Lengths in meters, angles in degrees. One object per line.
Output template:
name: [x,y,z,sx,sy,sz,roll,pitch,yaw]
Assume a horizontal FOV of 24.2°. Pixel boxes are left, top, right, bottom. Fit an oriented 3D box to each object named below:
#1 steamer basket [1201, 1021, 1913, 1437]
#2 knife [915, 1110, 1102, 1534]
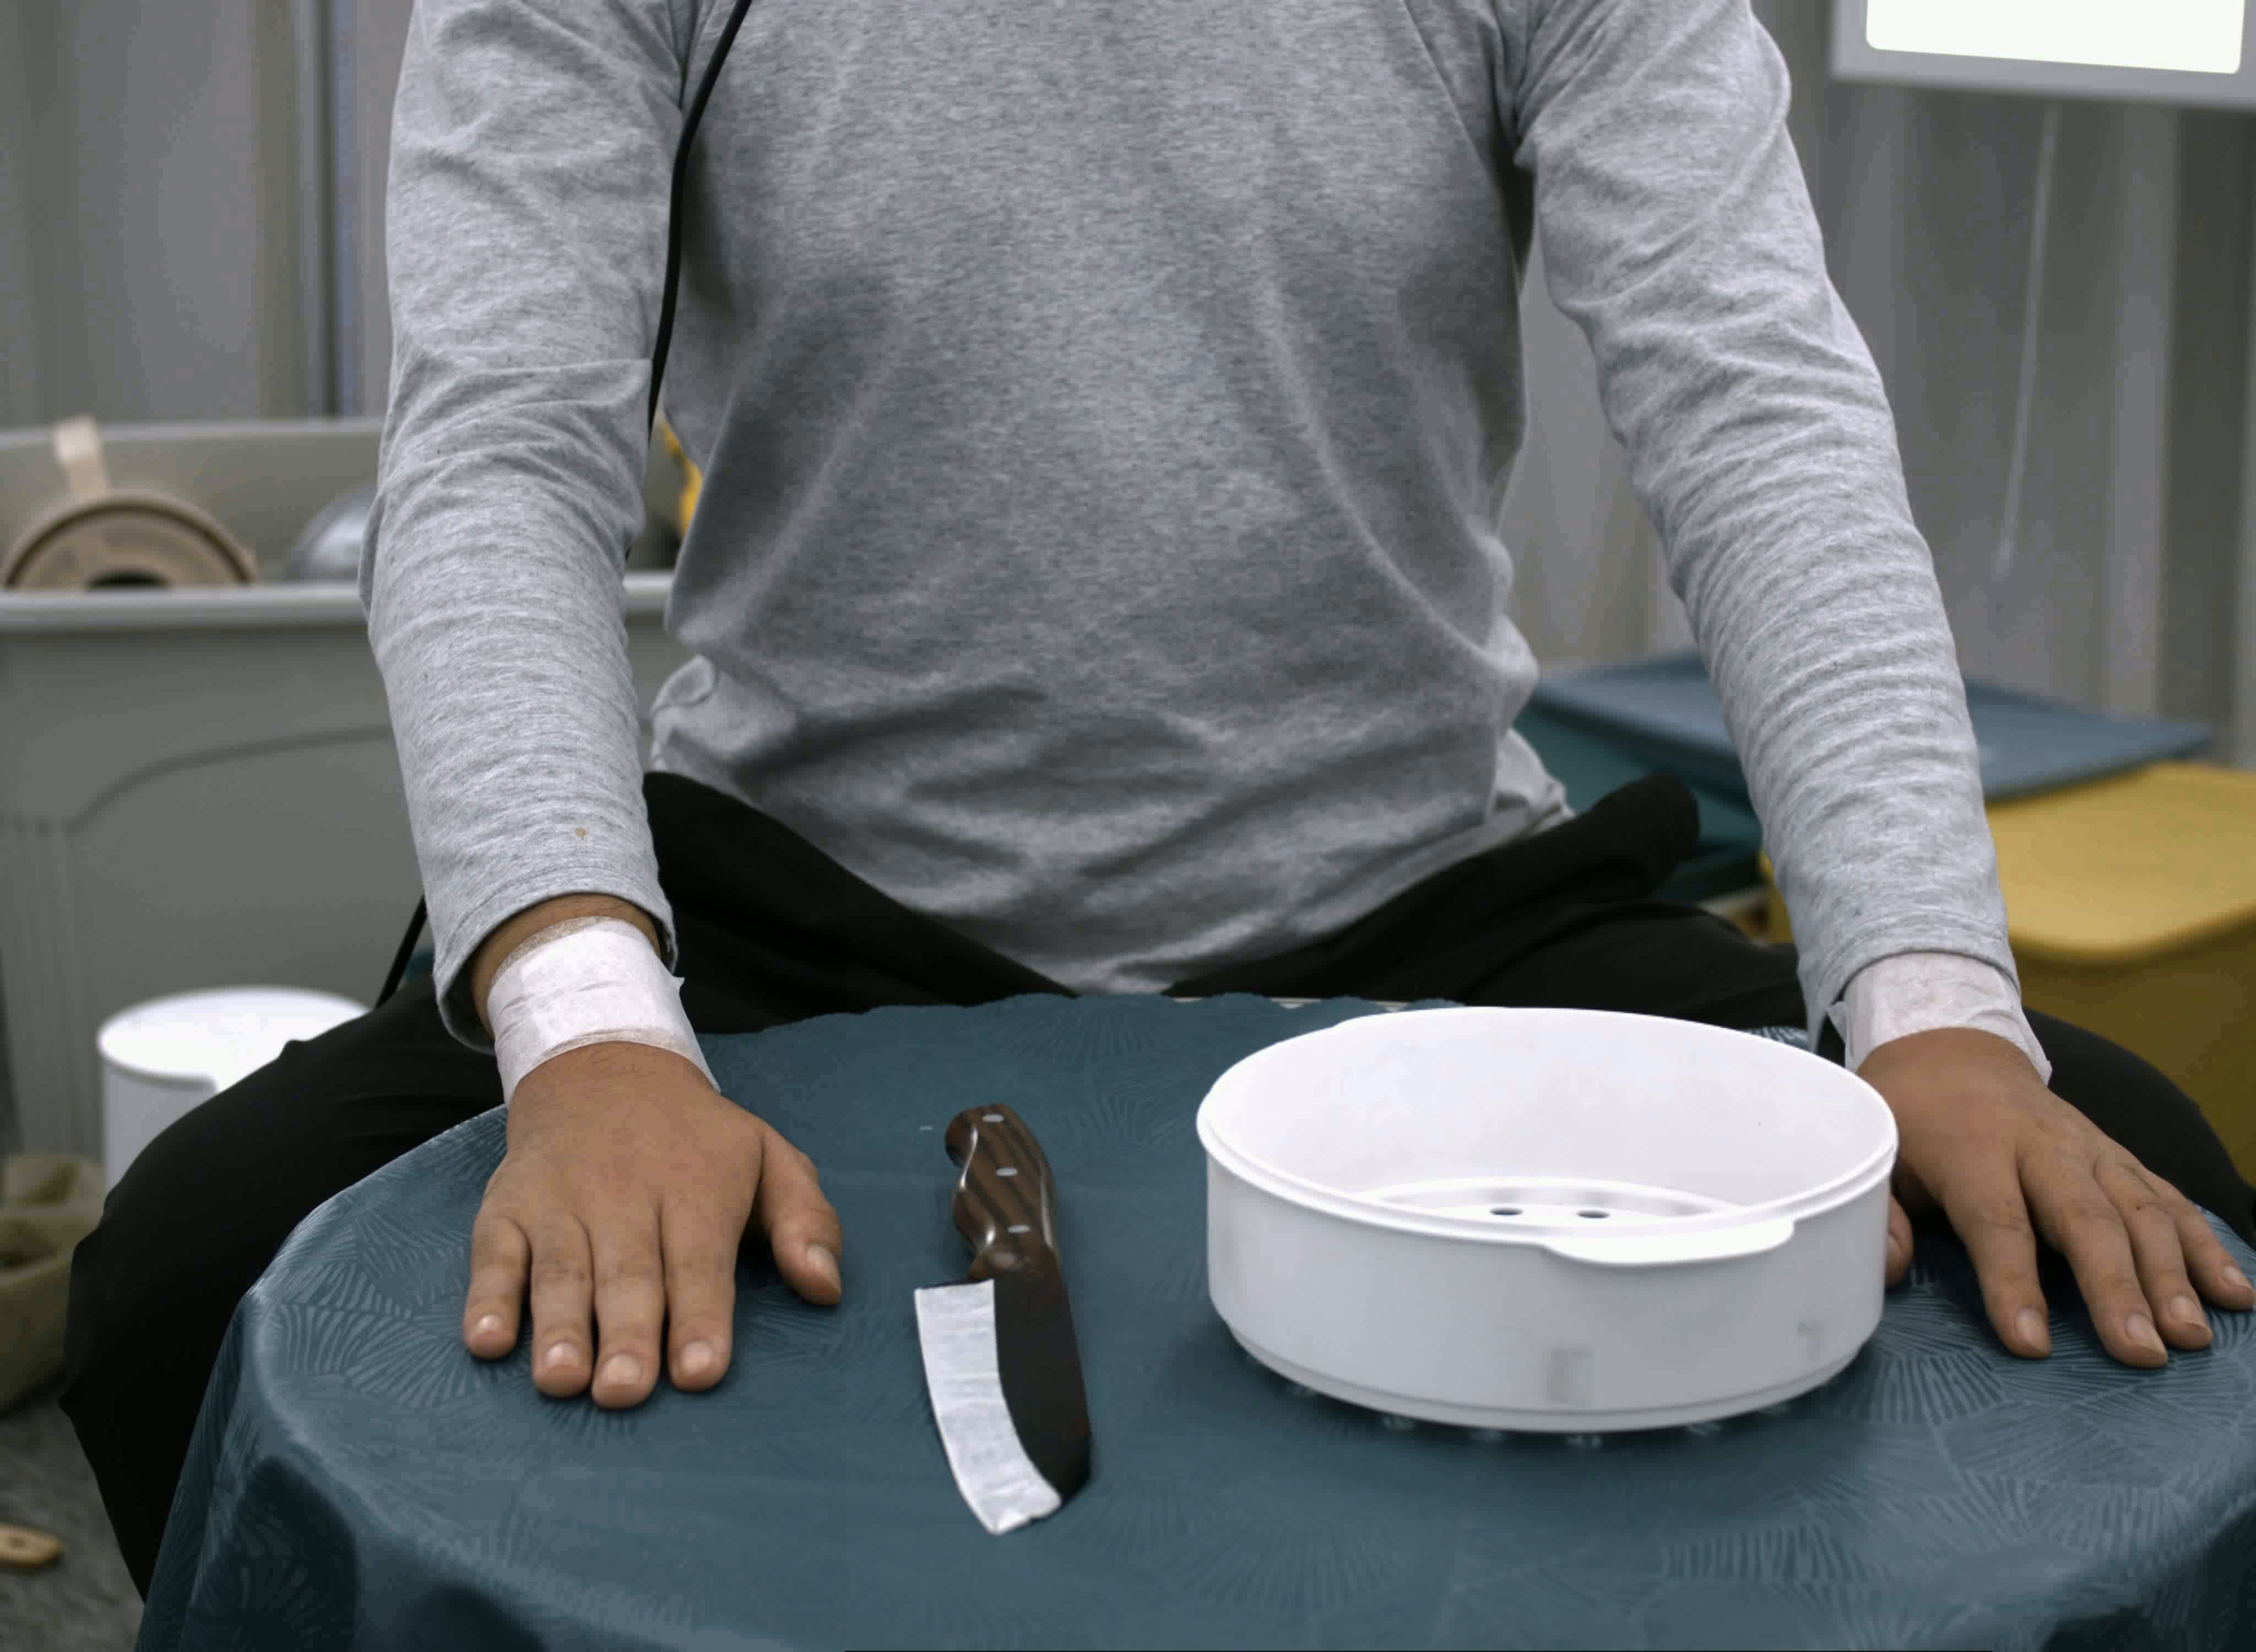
steamer basket: [0.121,0.114,1.499,0.202,0.070,0.228,-3,15,-15]
knife: [-0.036,0.139,1.499,0.050,0.020,0.287,-5,18,-1]
